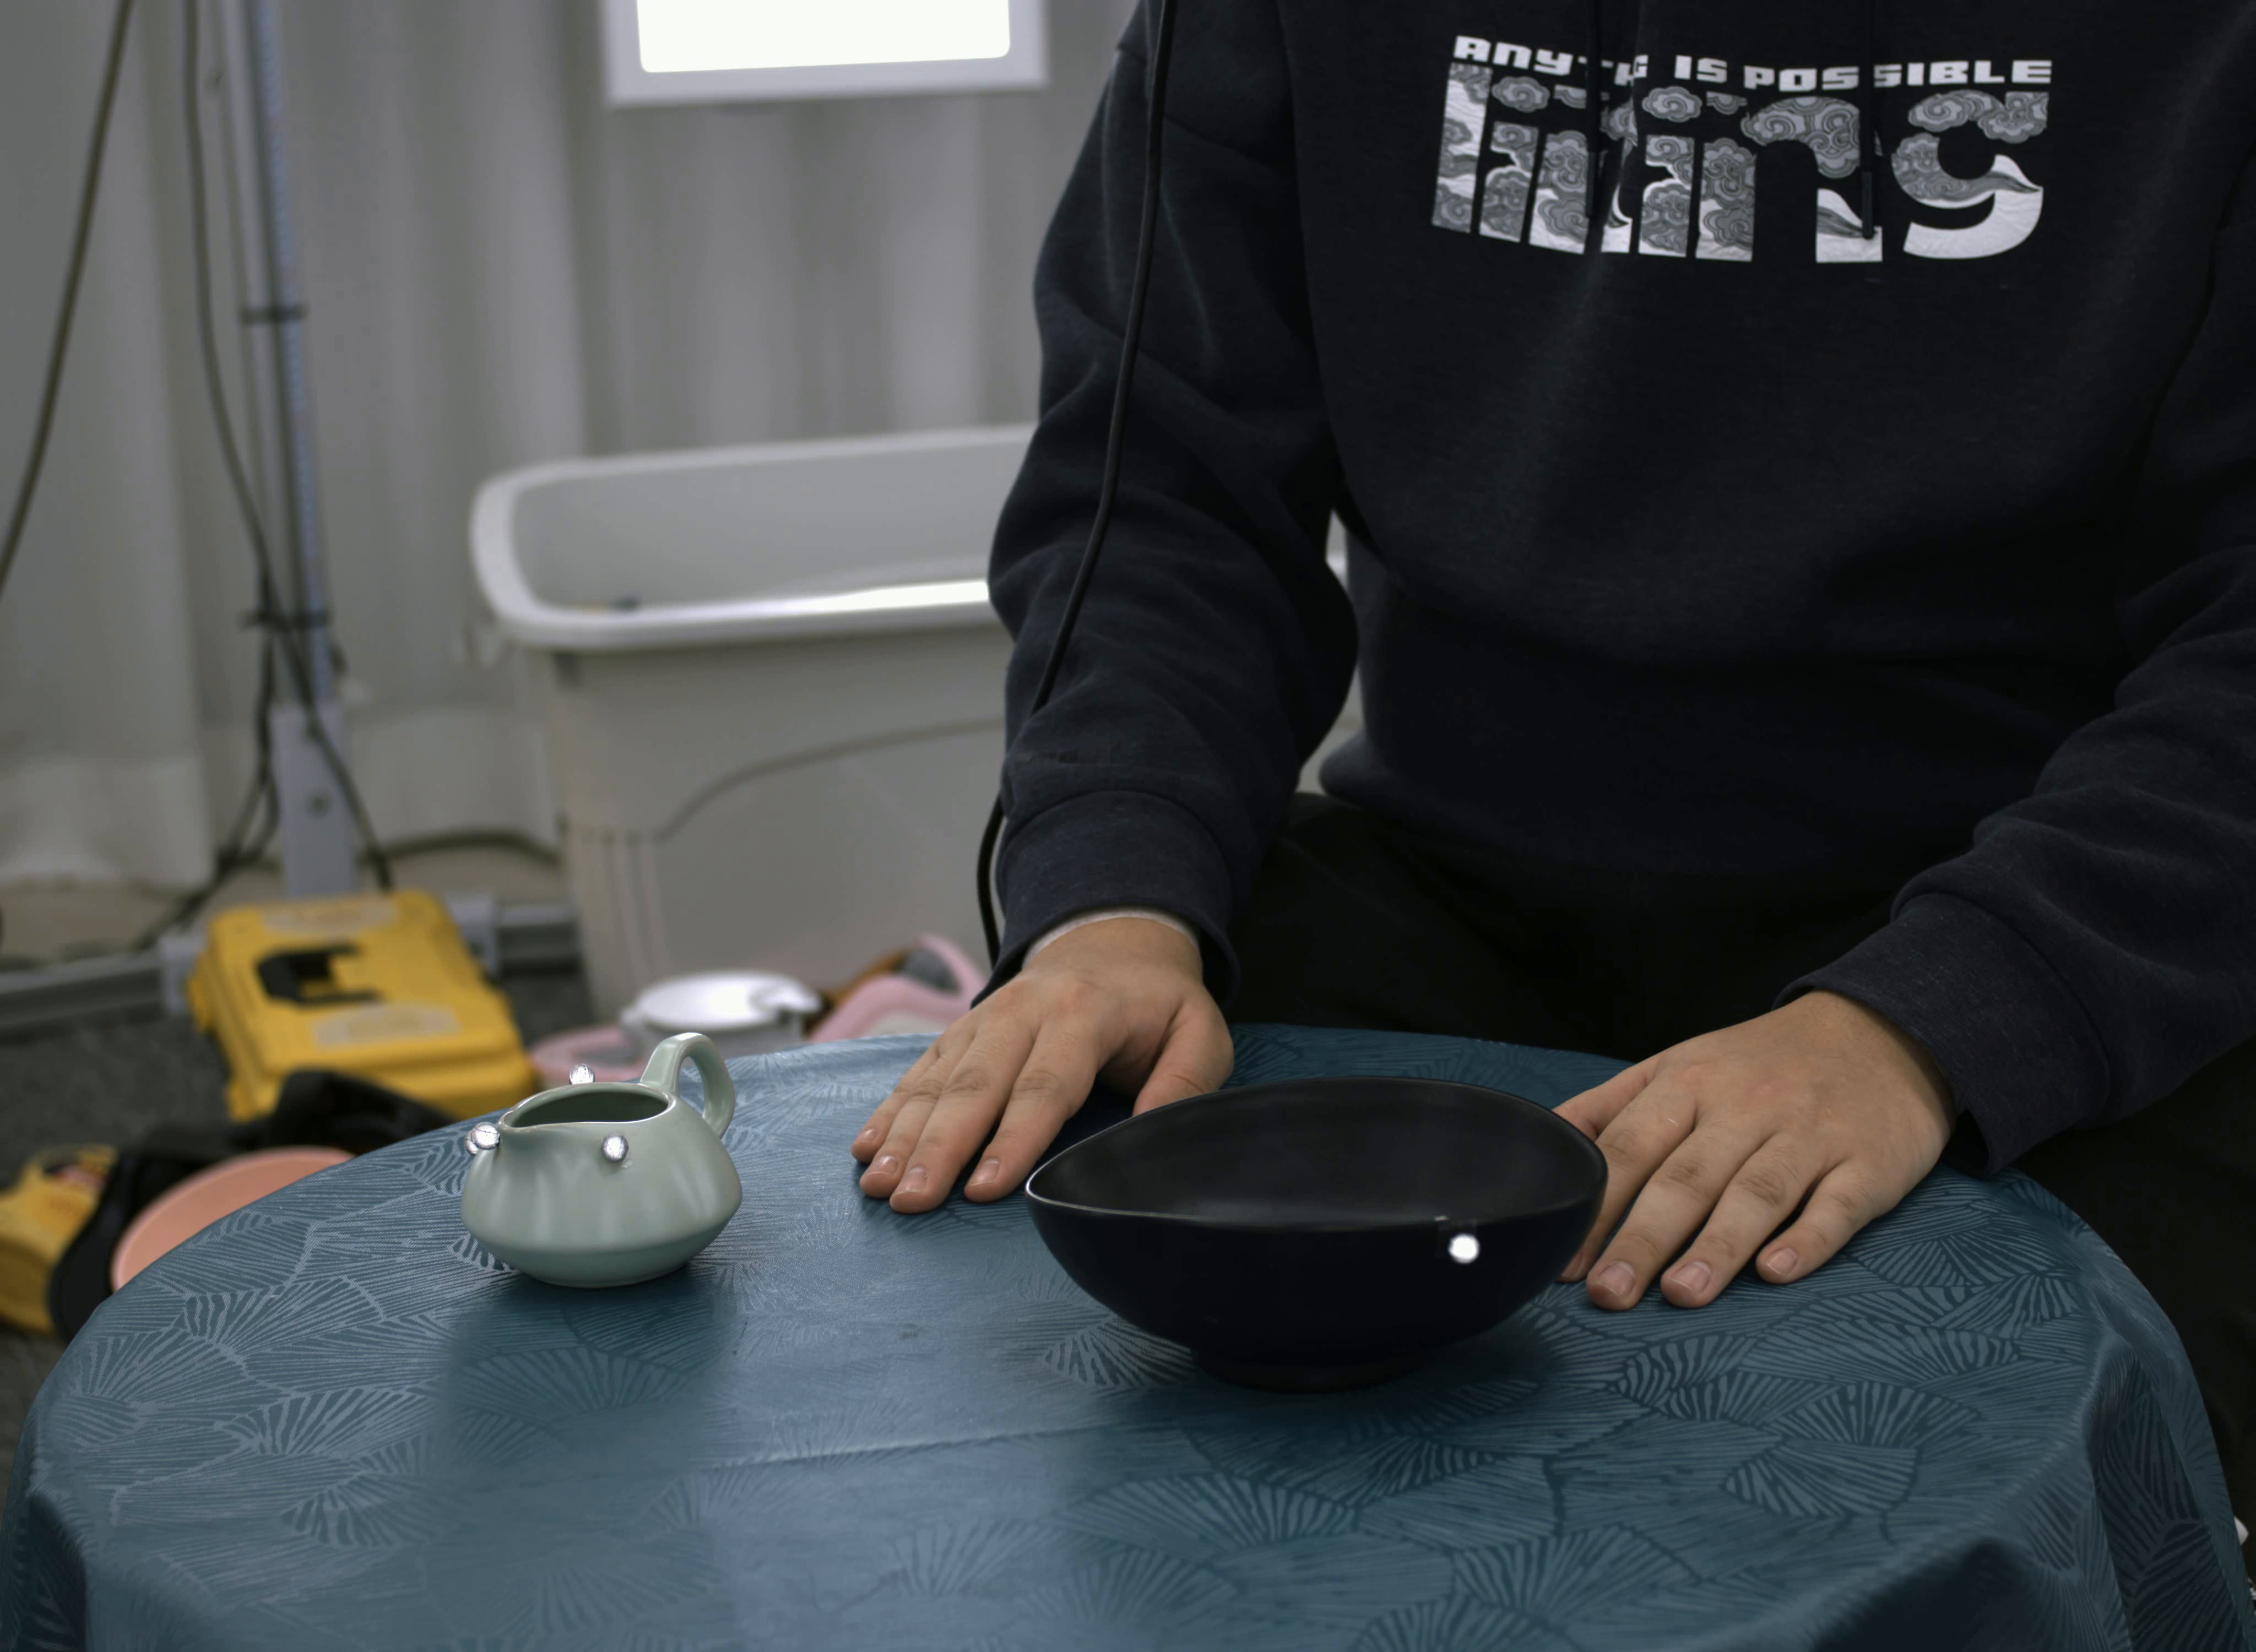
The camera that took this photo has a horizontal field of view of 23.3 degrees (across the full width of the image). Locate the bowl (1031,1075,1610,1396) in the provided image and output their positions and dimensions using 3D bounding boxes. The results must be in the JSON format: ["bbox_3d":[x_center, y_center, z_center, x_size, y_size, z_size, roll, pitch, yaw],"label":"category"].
[{"bbox_3d":[0.054,0.122,1.560,0.170,0.066,0.138,1,14,17],"label":"bowl"}]

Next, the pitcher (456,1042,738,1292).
[{"bbox_3d":[-0.156,0.105,1.676,0.086,0.060,0.108,7,15,29],"label":"pitcher"}]
